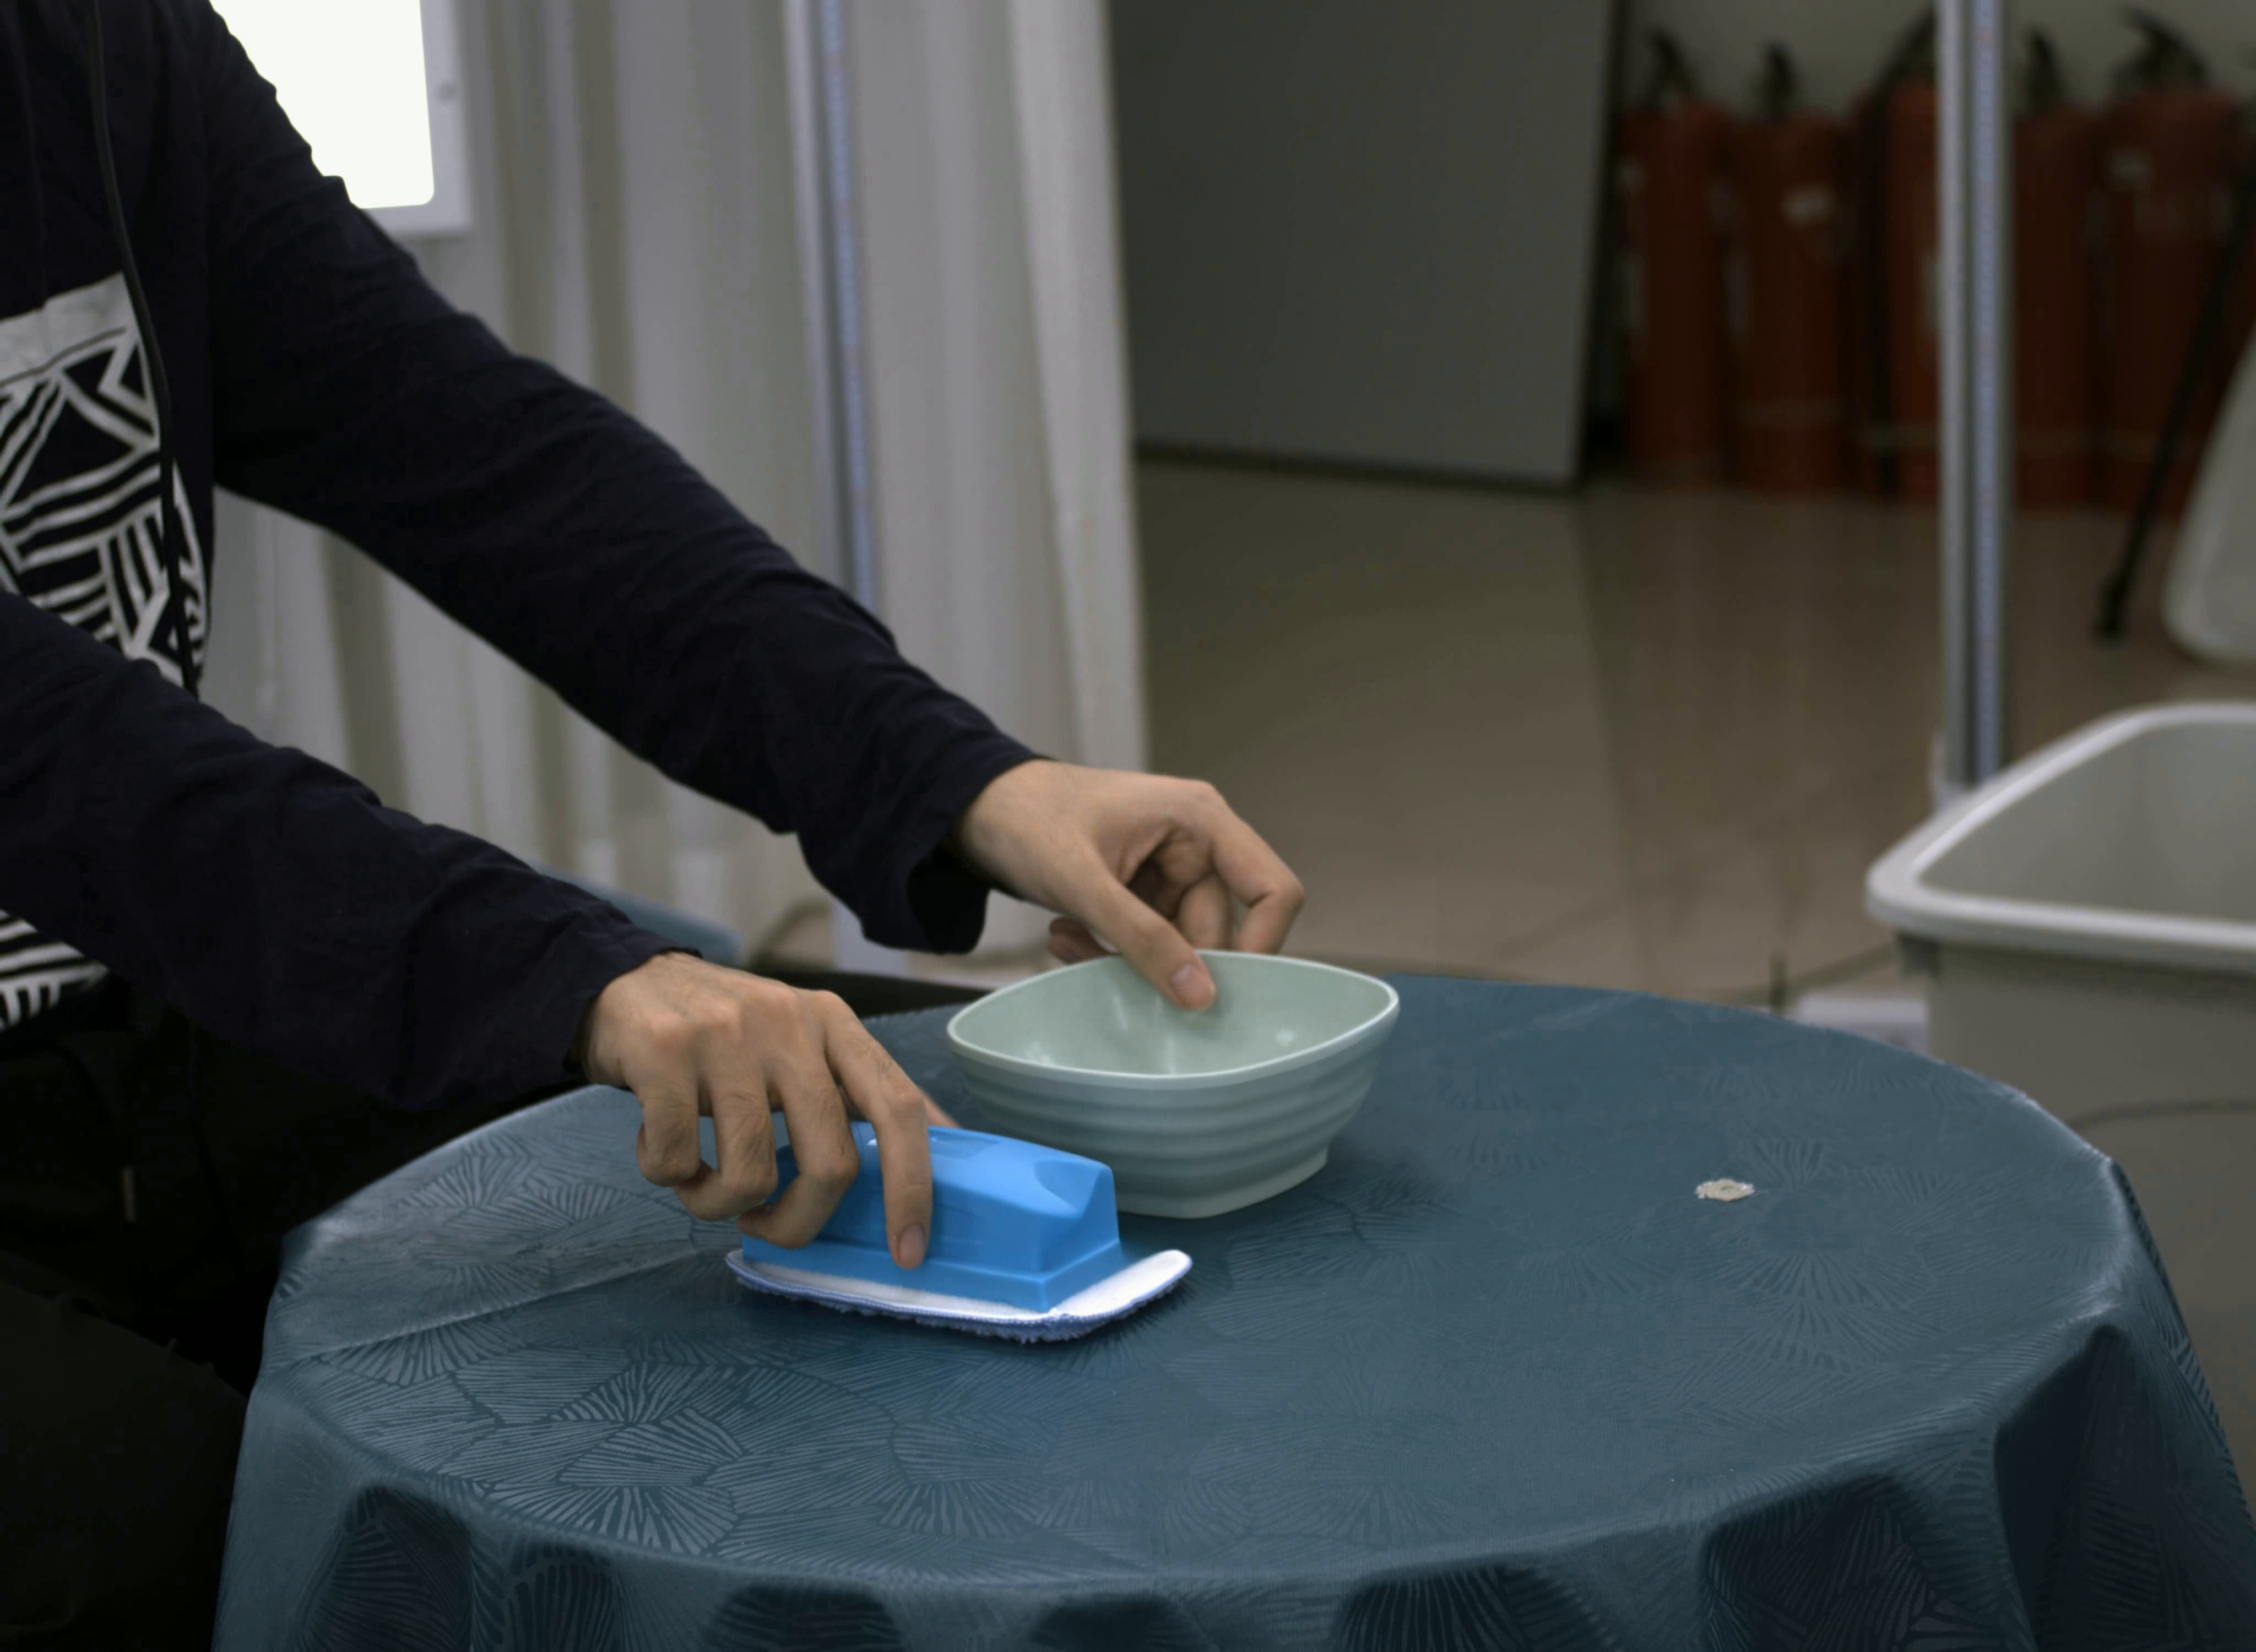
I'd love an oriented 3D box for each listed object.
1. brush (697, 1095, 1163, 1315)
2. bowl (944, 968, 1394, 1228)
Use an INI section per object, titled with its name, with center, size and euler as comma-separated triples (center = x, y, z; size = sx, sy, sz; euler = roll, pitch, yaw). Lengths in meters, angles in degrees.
[brush]
center = -0.062, 0.117, 1.683
size = 0.145, 0.056, 0.082
euler = 9, 14, 37
[bowl]
center = 0.015, 0.092, 1.781
size = 0.149, 0.059, 0.151
euler = -4, 12, 0
